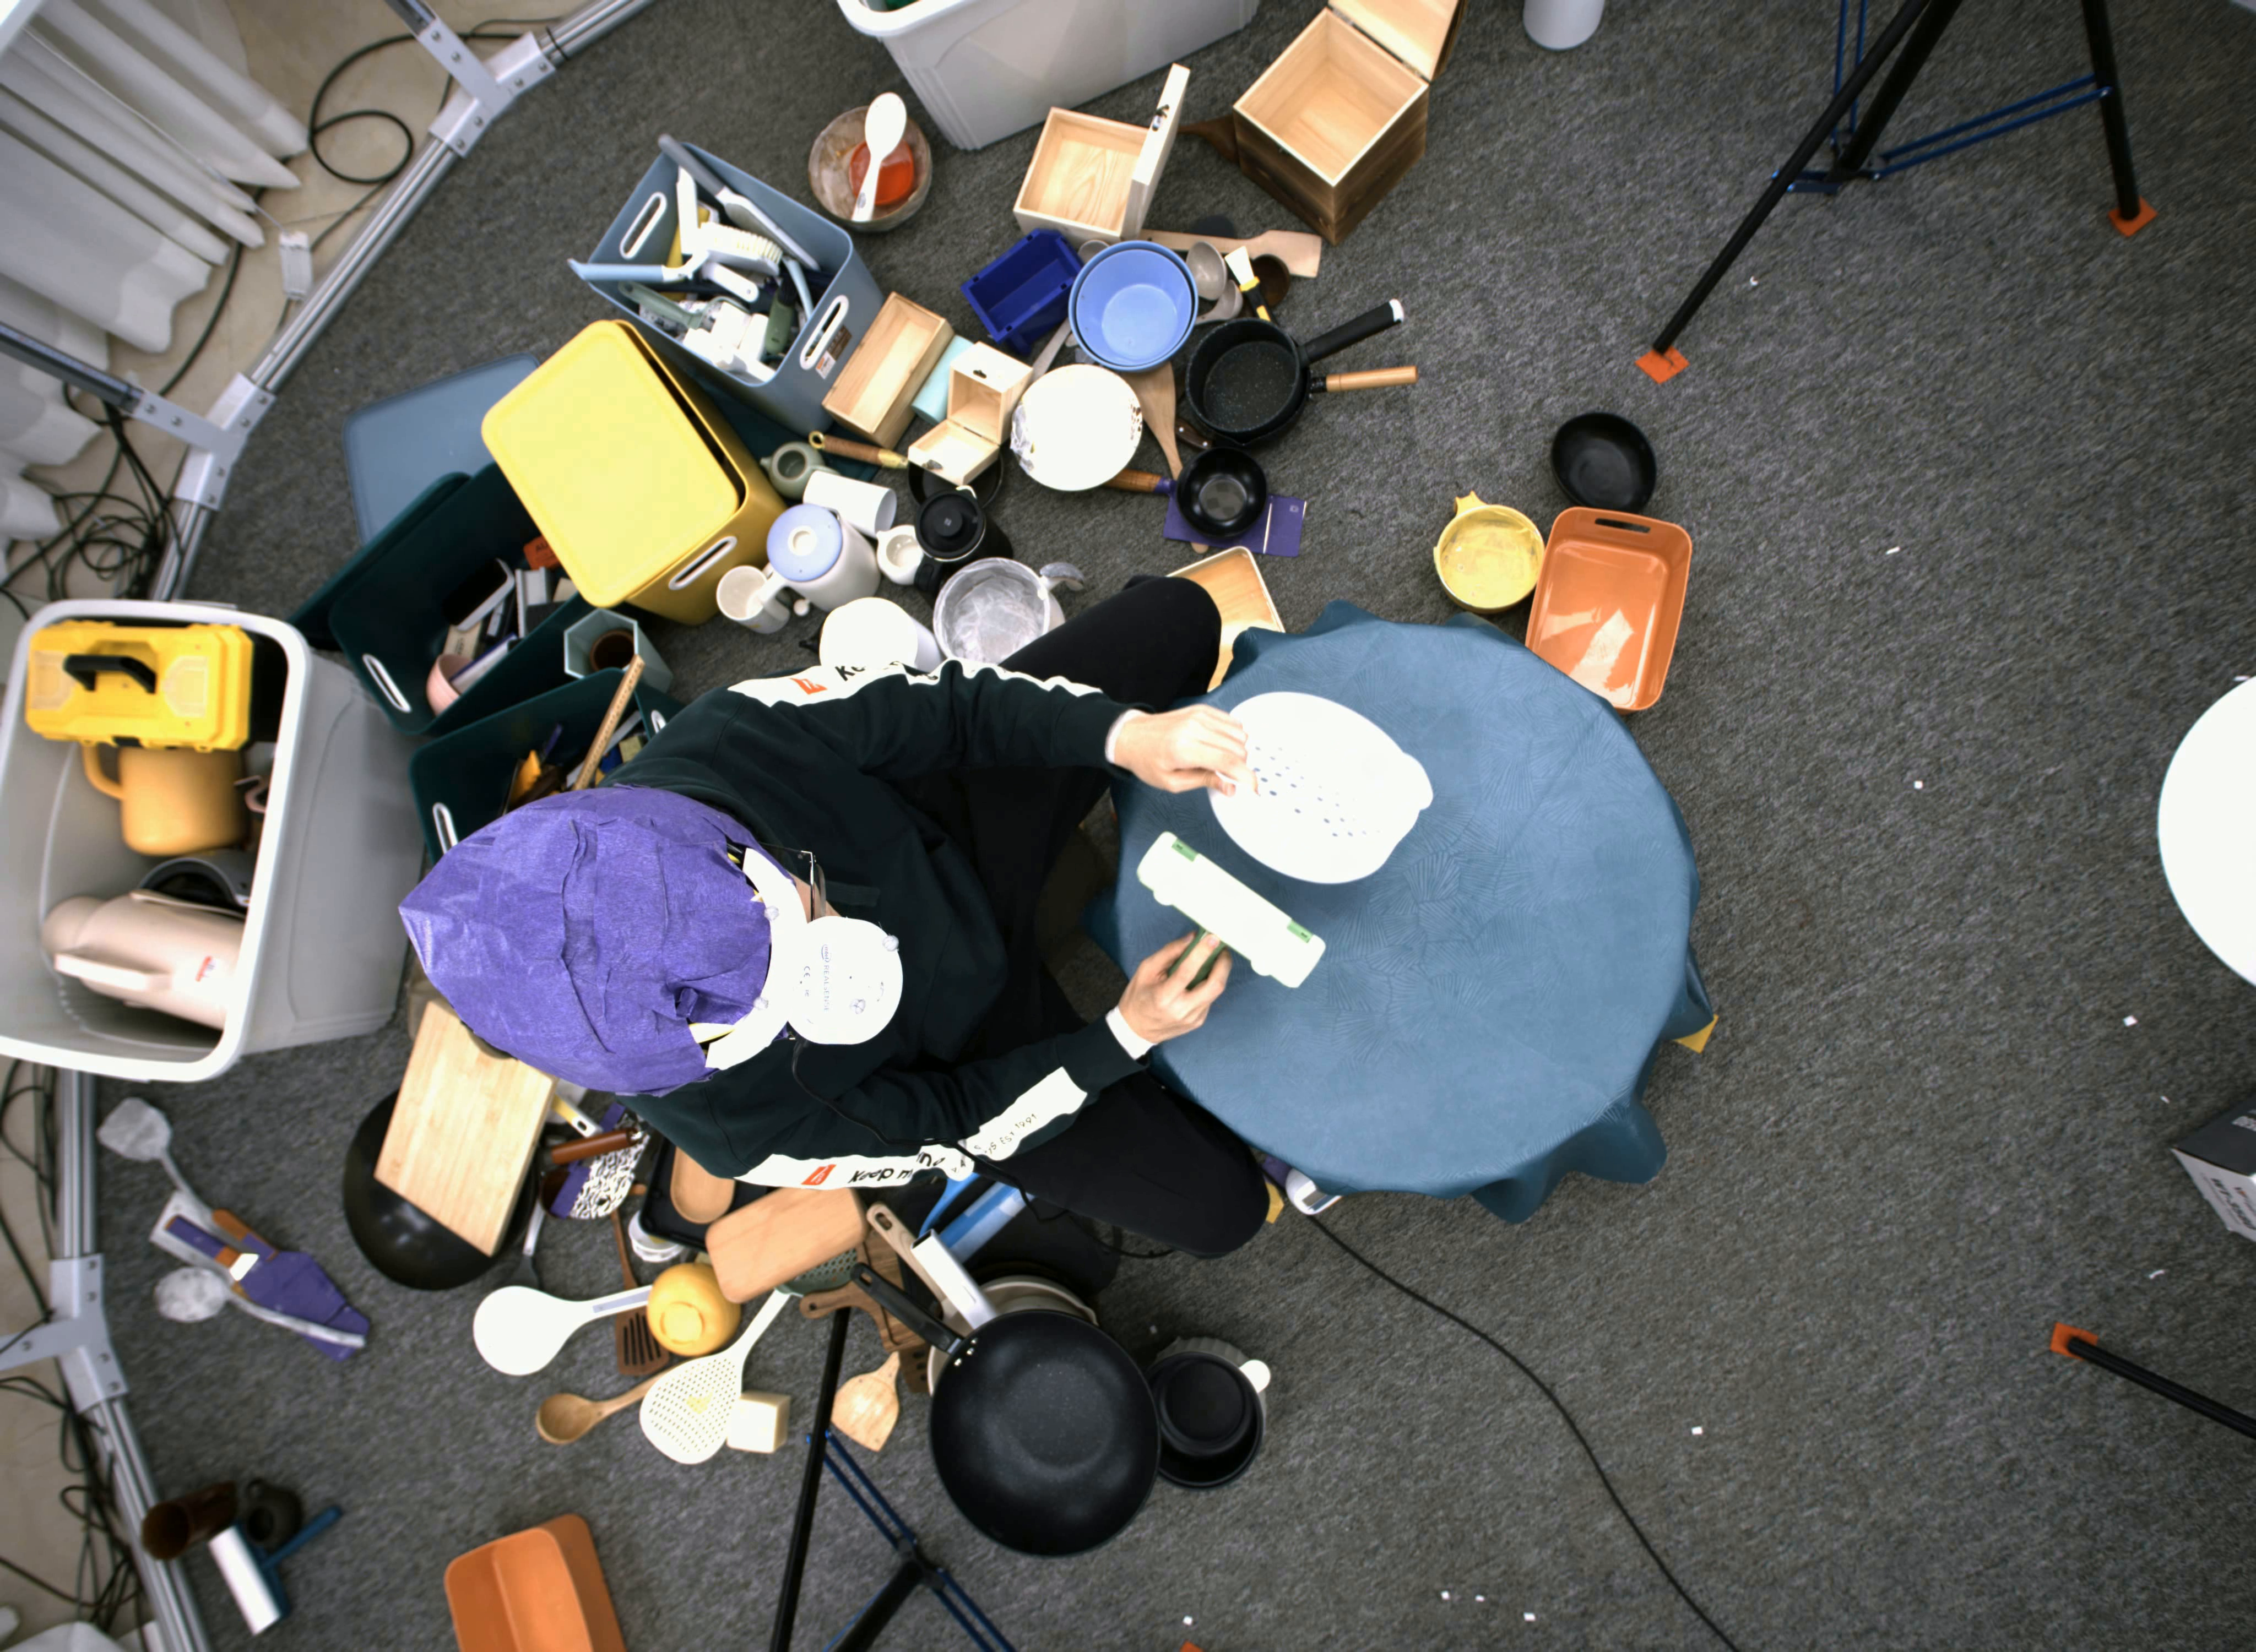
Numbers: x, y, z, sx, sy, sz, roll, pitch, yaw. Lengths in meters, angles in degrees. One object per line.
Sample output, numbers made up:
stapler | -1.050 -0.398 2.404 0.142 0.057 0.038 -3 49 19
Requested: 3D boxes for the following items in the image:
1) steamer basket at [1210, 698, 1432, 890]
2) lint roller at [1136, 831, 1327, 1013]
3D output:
steamer basket | 0.175 -0.031 1.309 0.230 0.071 0.197 9 45 -21
lint roller | 0.071 0.128 1.374 0.198 0.080 0.187 36 116 8
